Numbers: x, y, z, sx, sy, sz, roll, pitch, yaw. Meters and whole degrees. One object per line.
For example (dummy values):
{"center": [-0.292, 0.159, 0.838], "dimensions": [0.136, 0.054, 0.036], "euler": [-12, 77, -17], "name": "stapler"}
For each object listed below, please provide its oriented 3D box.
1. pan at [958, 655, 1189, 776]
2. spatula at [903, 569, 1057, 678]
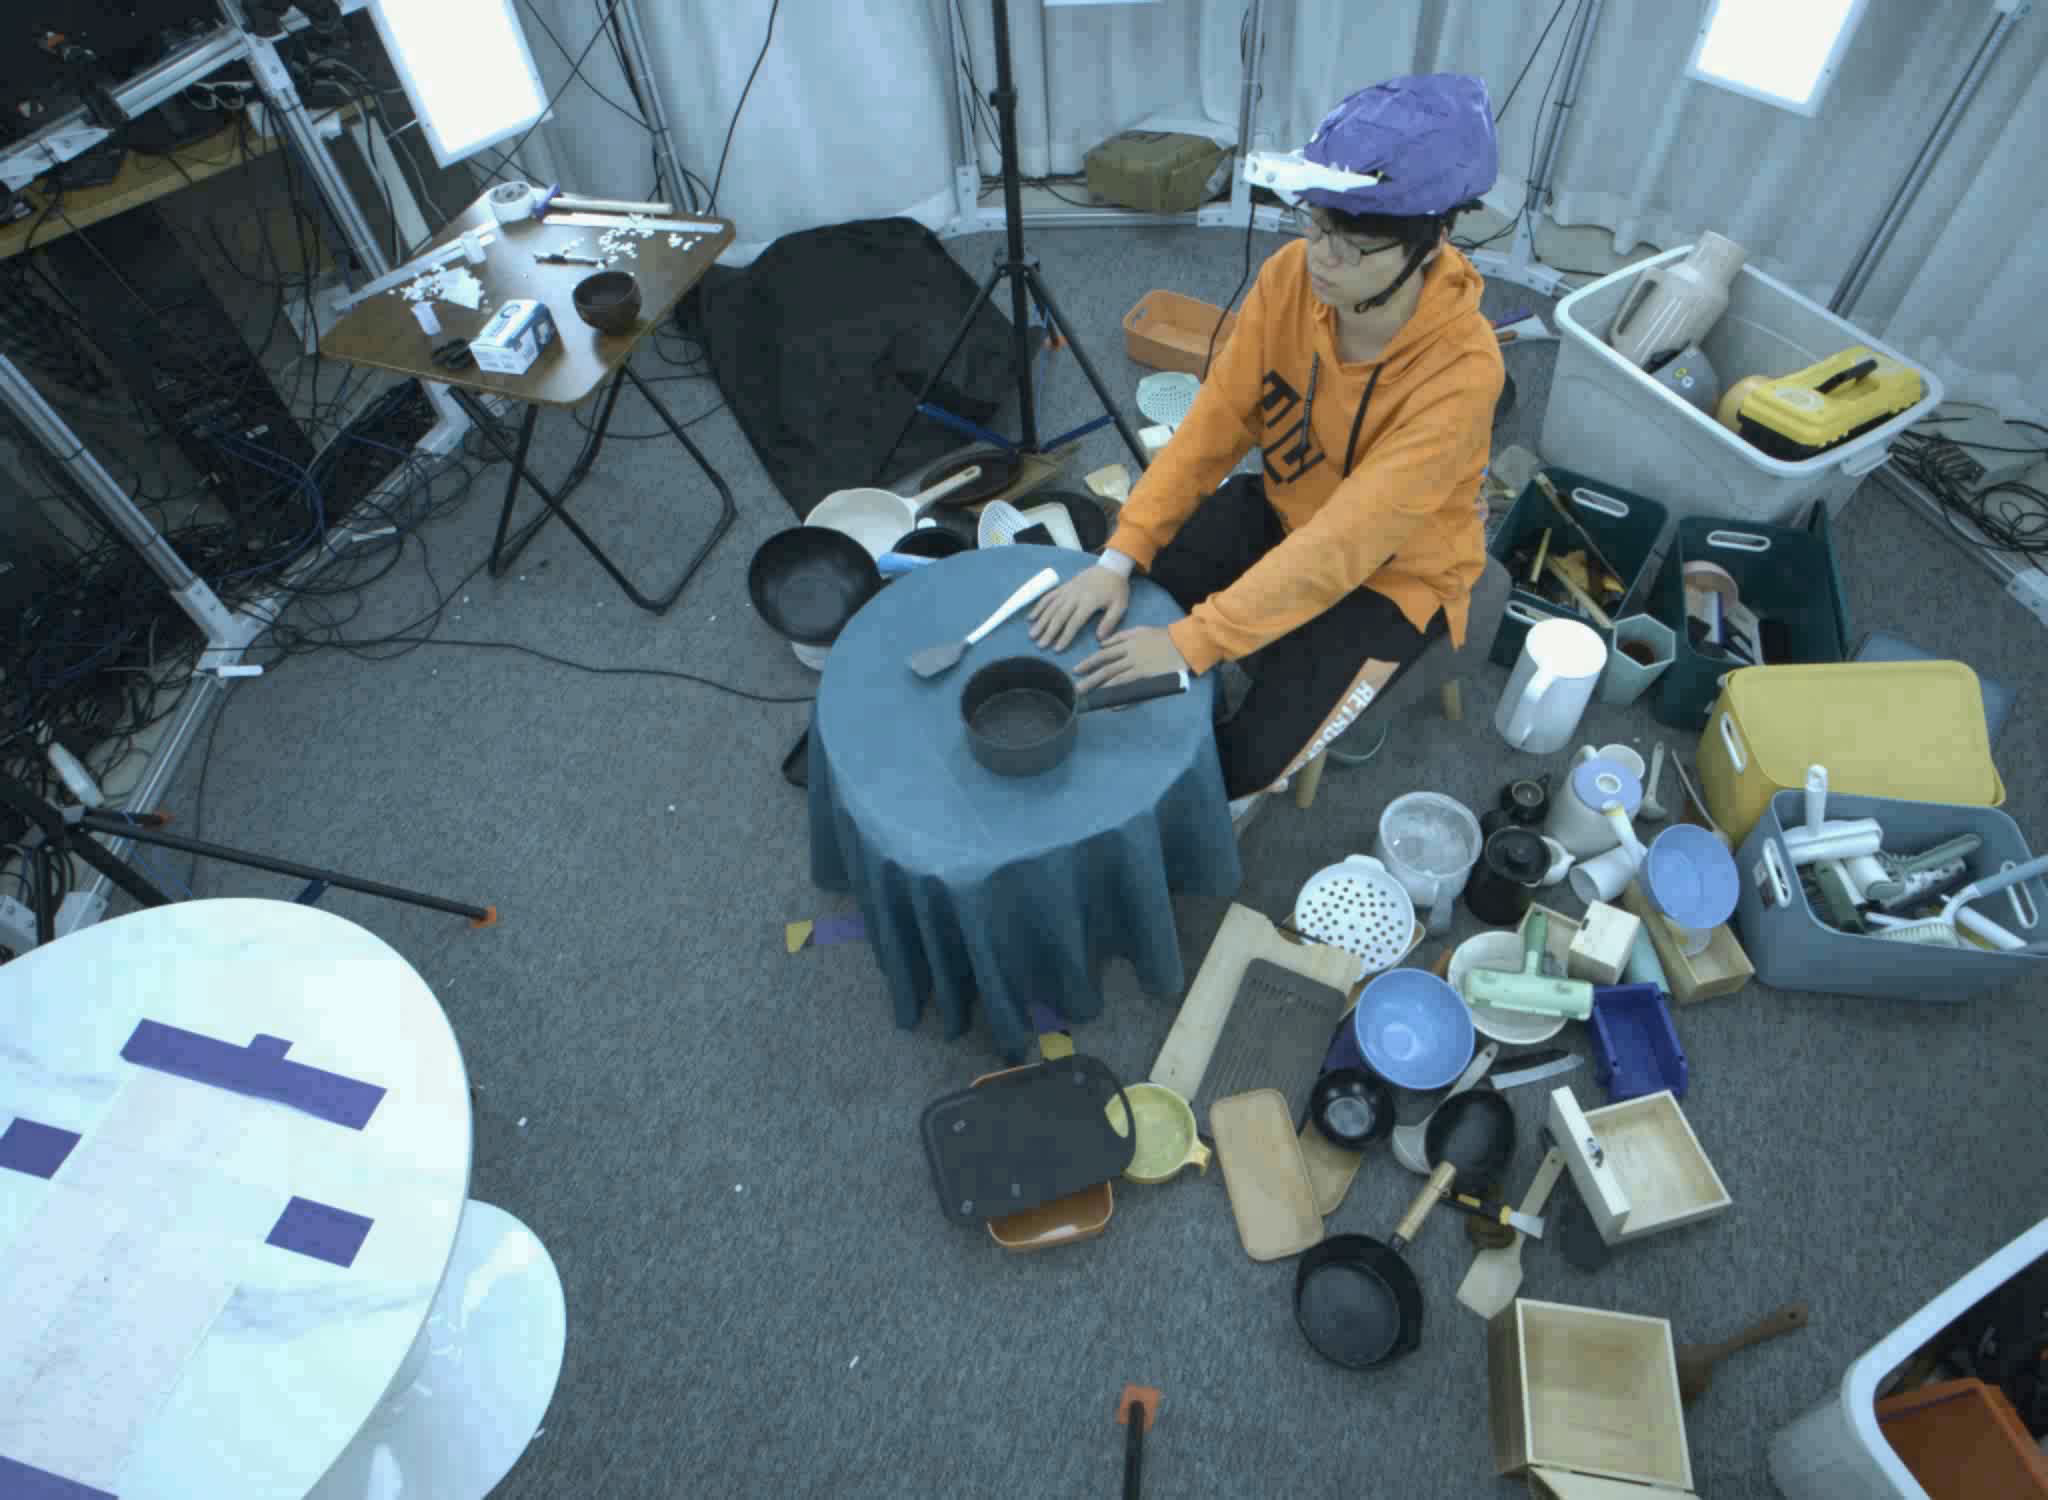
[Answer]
{"center": [0.073, -0.058, 1.773], "dimensions": [0.329, 0.087, 0.170], "euler": [-5, 55, 1], "name": "pan"}
{"center": [-0.063, -0.195, 1.908], "dimensions": [0.290, 0.032, 0.058], "euler": [-37, 64, -23], "name": "spatula"}
